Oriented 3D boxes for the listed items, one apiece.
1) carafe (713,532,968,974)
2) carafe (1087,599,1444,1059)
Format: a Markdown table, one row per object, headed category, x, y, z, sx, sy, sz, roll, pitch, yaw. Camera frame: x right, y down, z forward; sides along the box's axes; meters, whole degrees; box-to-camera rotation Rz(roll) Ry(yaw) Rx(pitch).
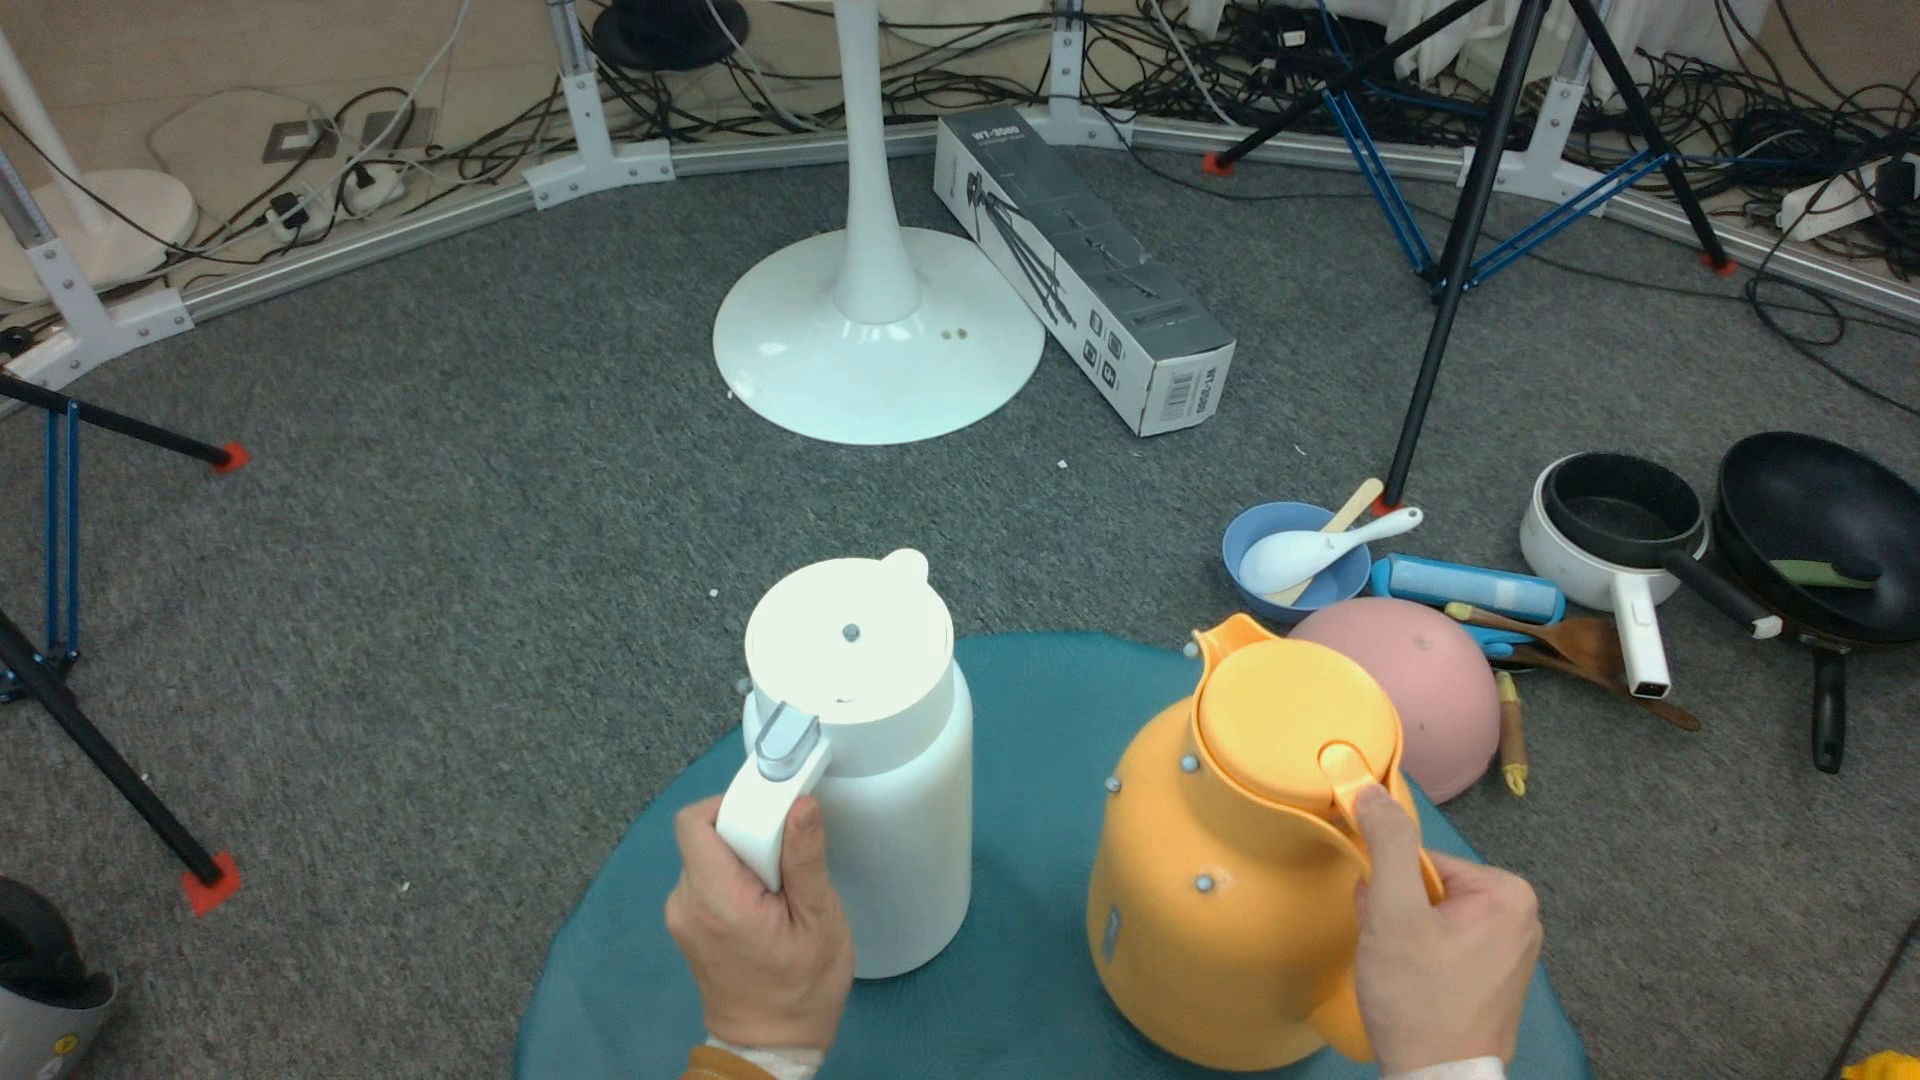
| category | x | y | z | sx | sy | sz | roll | pitch | yaw |
| --- | --- | --- | --- | --- | --- | --- | --- | --- | --- |
| carafe | -0.061 | 0.139 | 0.734 | 0.124 | 0.267 | 0.173 | 21 | 52 | 14 |
| carafe | 0.160 | 0.168 | 0.714 | 0.164 | 0.259 | 0.203 | -19 | 50 | -14 |
